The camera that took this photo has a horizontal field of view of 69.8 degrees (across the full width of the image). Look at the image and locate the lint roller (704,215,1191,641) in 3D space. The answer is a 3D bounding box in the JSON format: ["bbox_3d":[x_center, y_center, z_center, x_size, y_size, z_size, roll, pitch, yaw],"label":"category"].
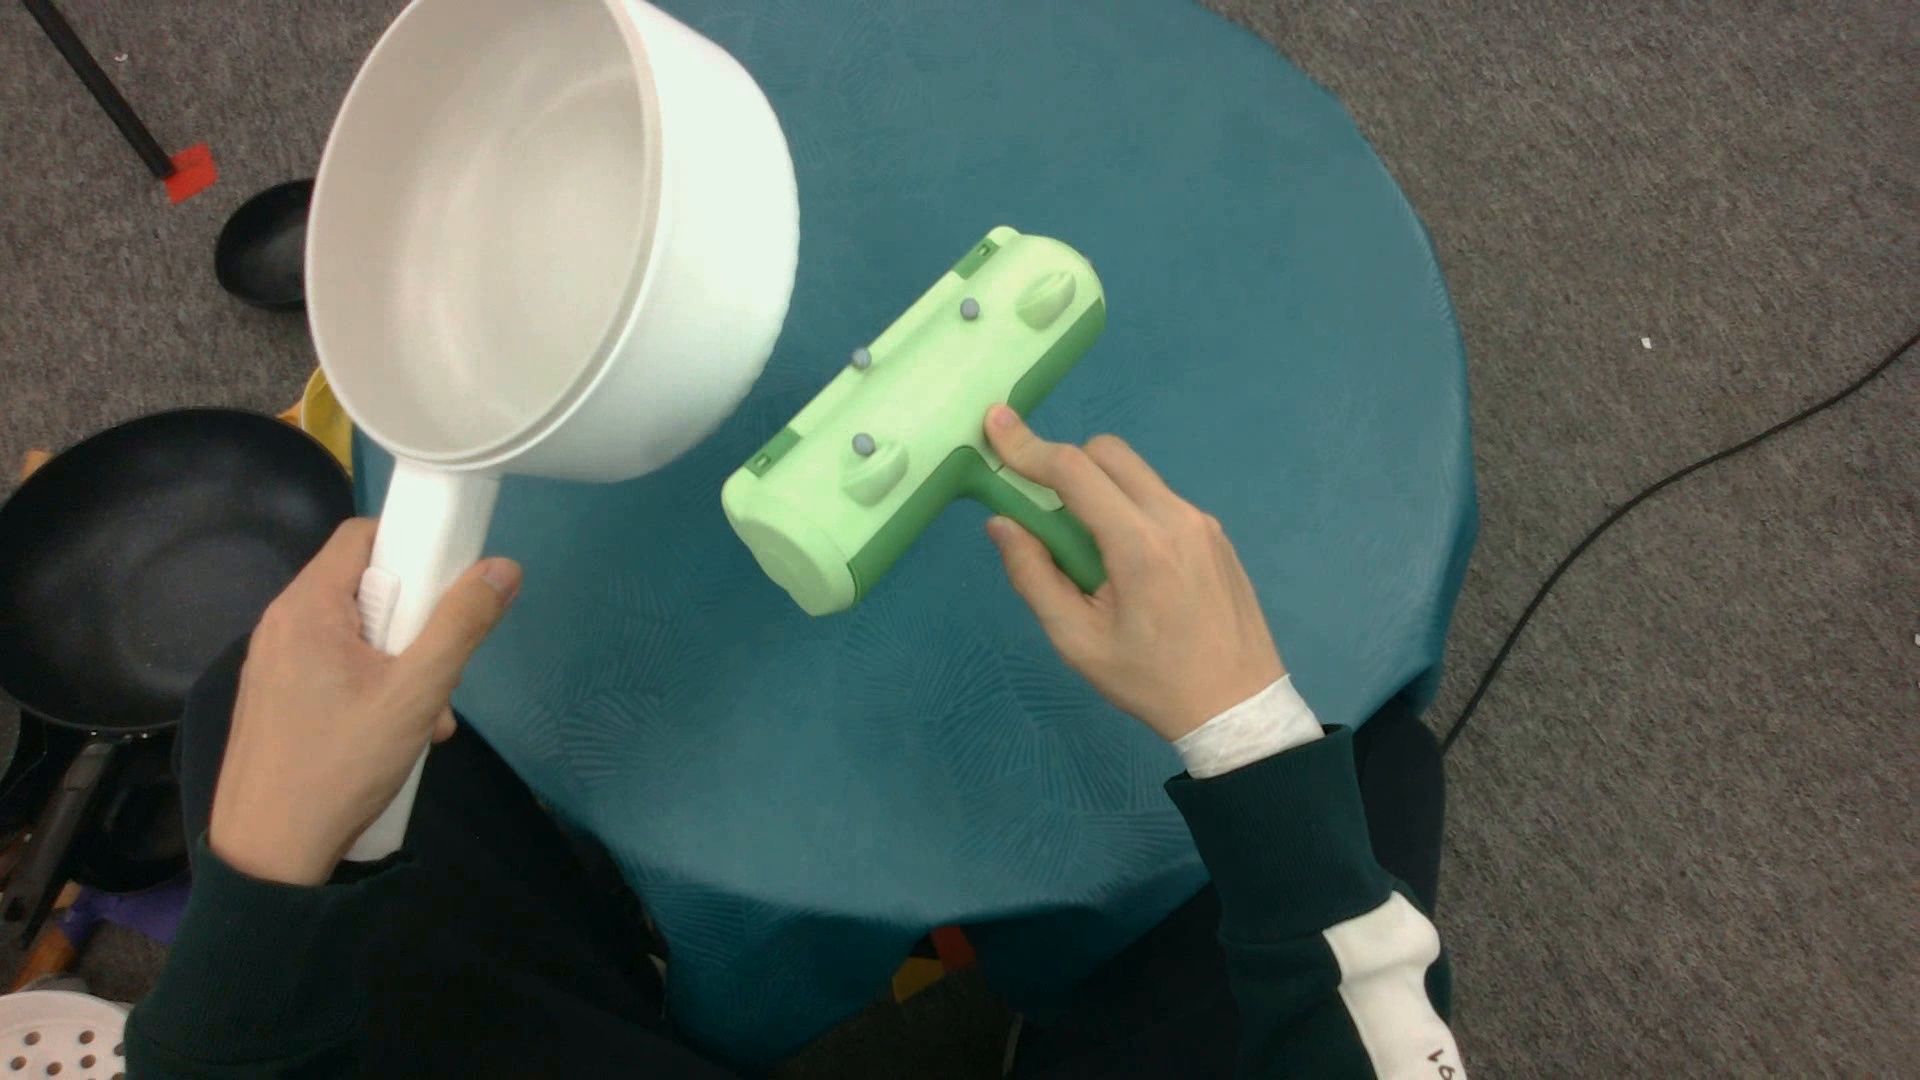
[{"bbox_3d":[0.027,-0.030,0.553,0.183,0.082,0.199,36,58,7],"label":"lint roller"}]

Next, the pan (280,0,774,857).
[{"bbox_3d":[-0.190,-0.048,0.568,0.201,0.102,0.354,15,93,30],"label":"pan"}]
